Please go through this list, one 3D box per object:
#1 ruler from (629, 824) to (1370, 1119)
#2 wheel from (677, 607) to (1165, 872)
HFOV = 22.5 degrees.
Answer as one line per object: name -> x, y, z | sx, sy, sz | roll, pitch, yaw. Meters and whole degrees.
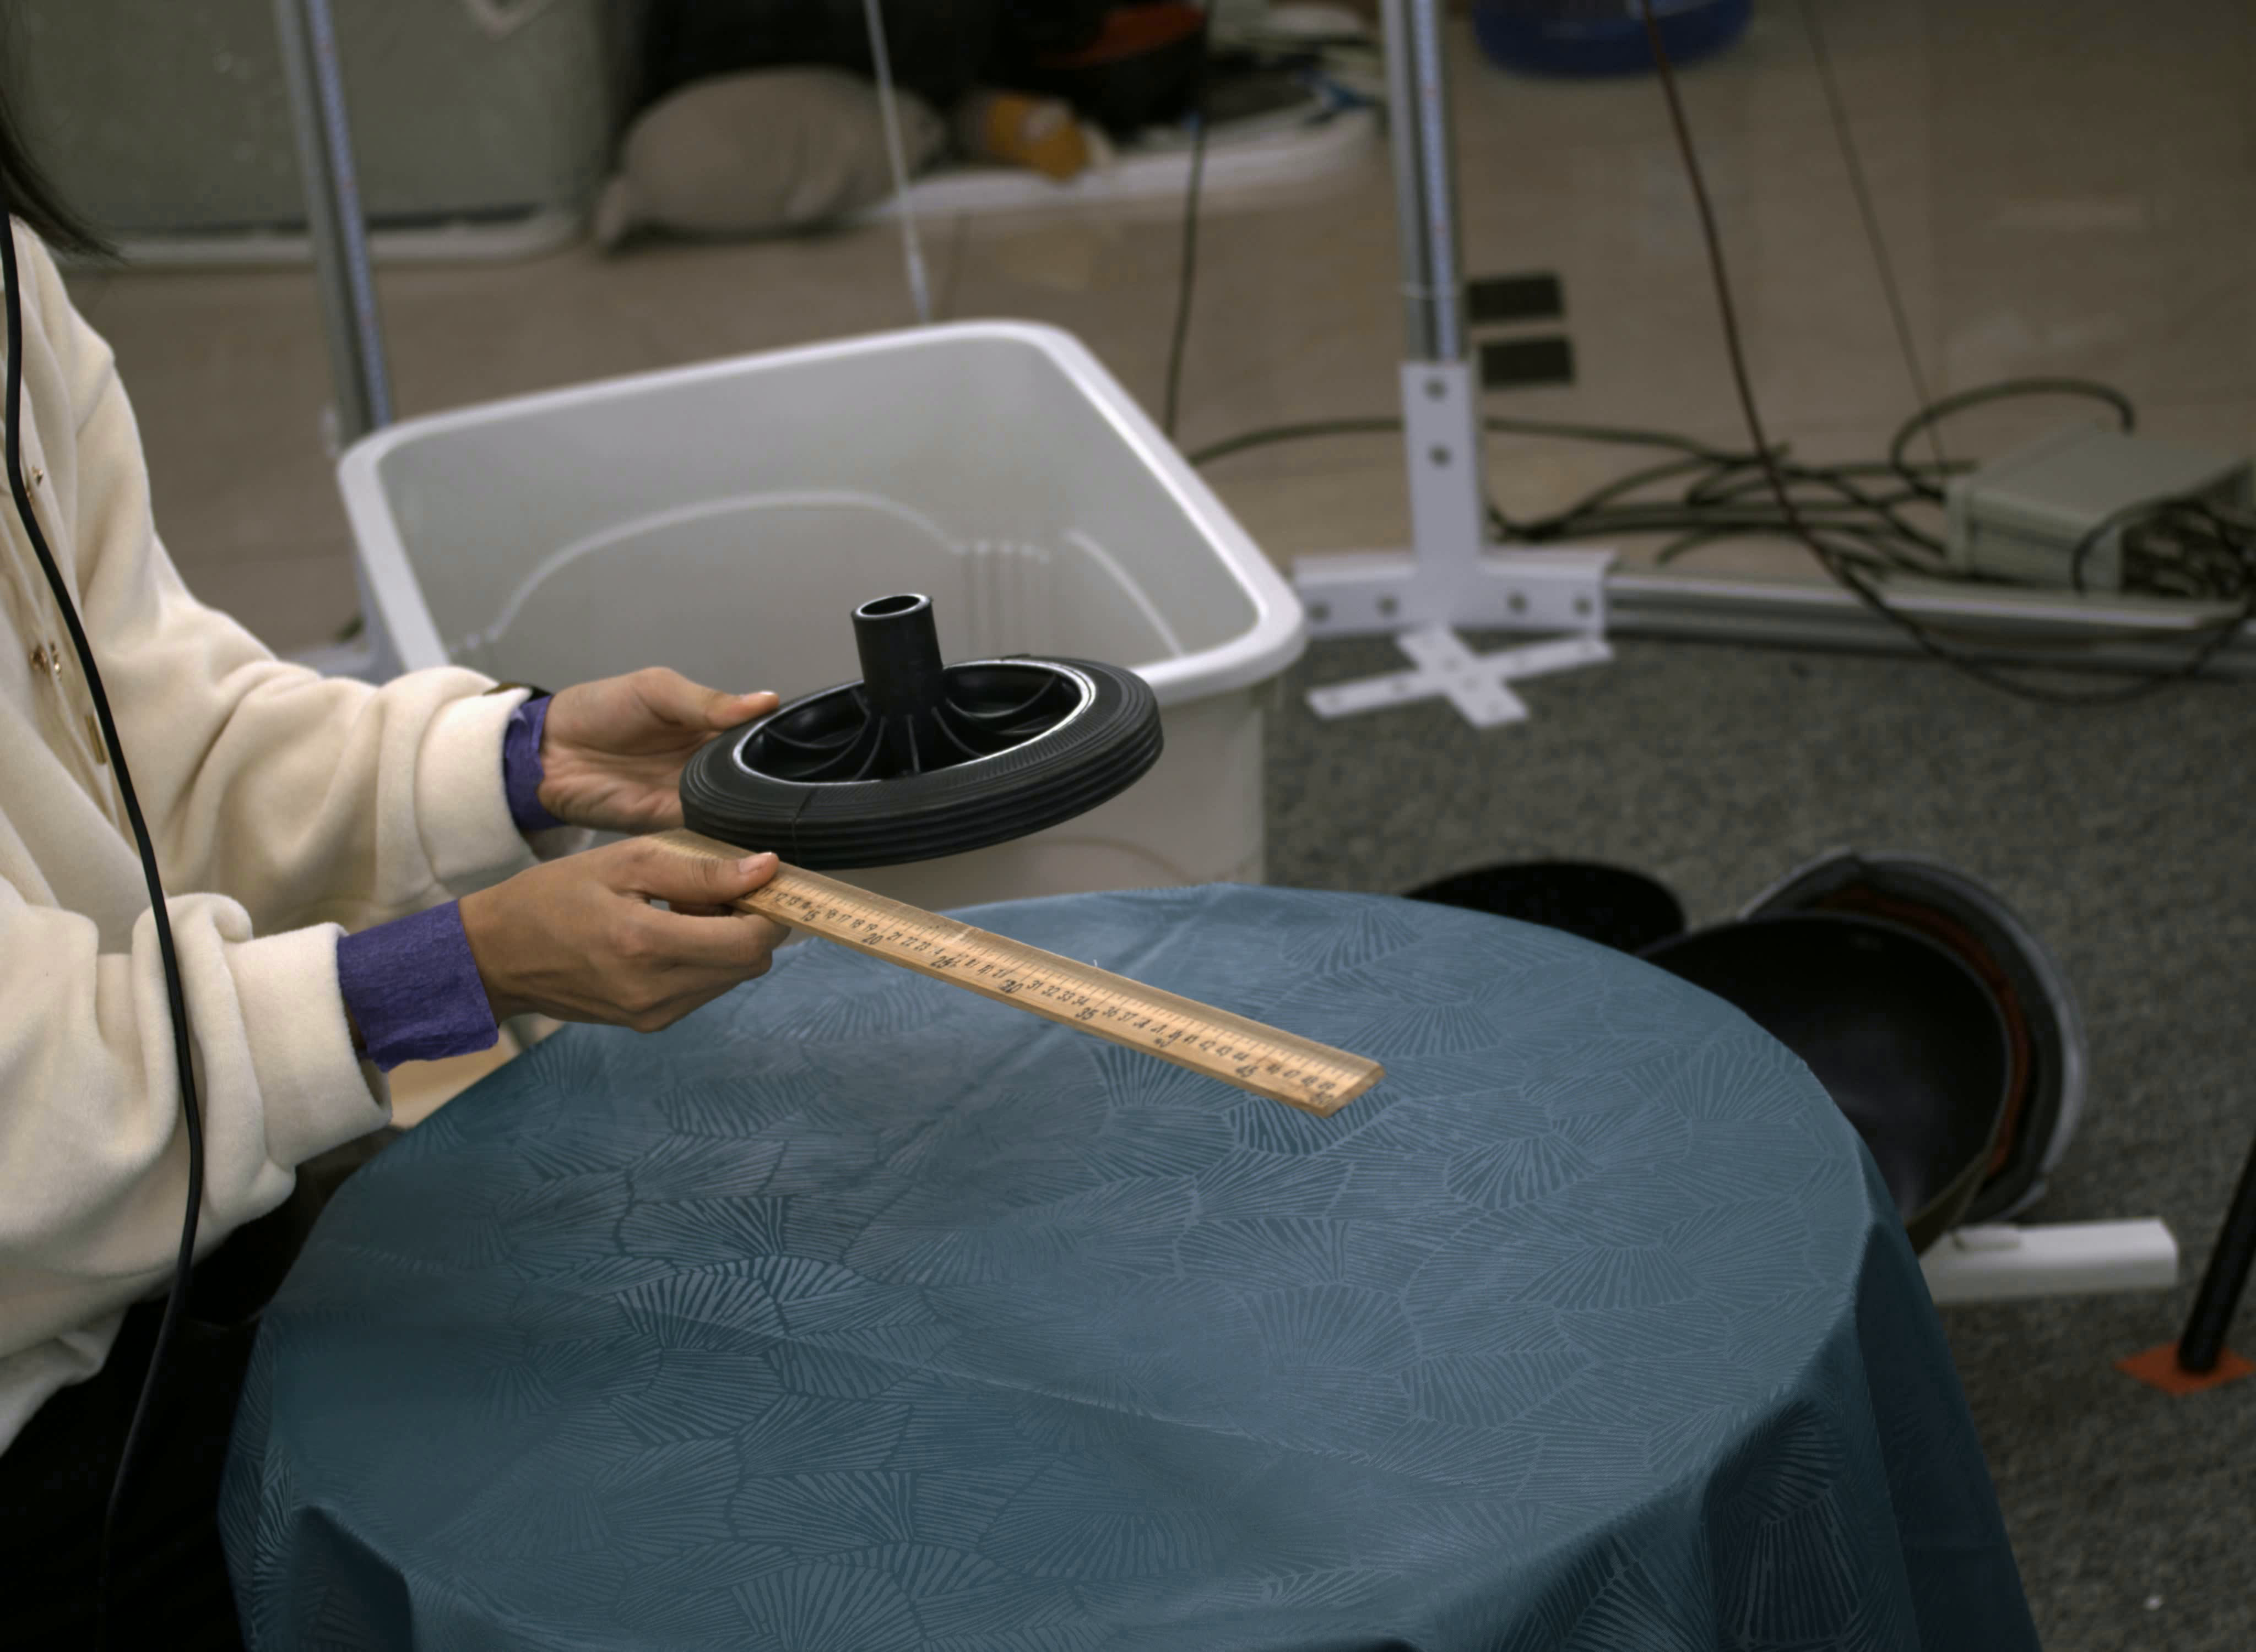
ruler -> -0.059, 0.044, 1.944 | 0.026, 0.006, 0.497 | -36, 25, -20
wheel -> -0.083, -0.042, 2.169 | 0.186, 0.080, 0.188 | -17, 19, -21
